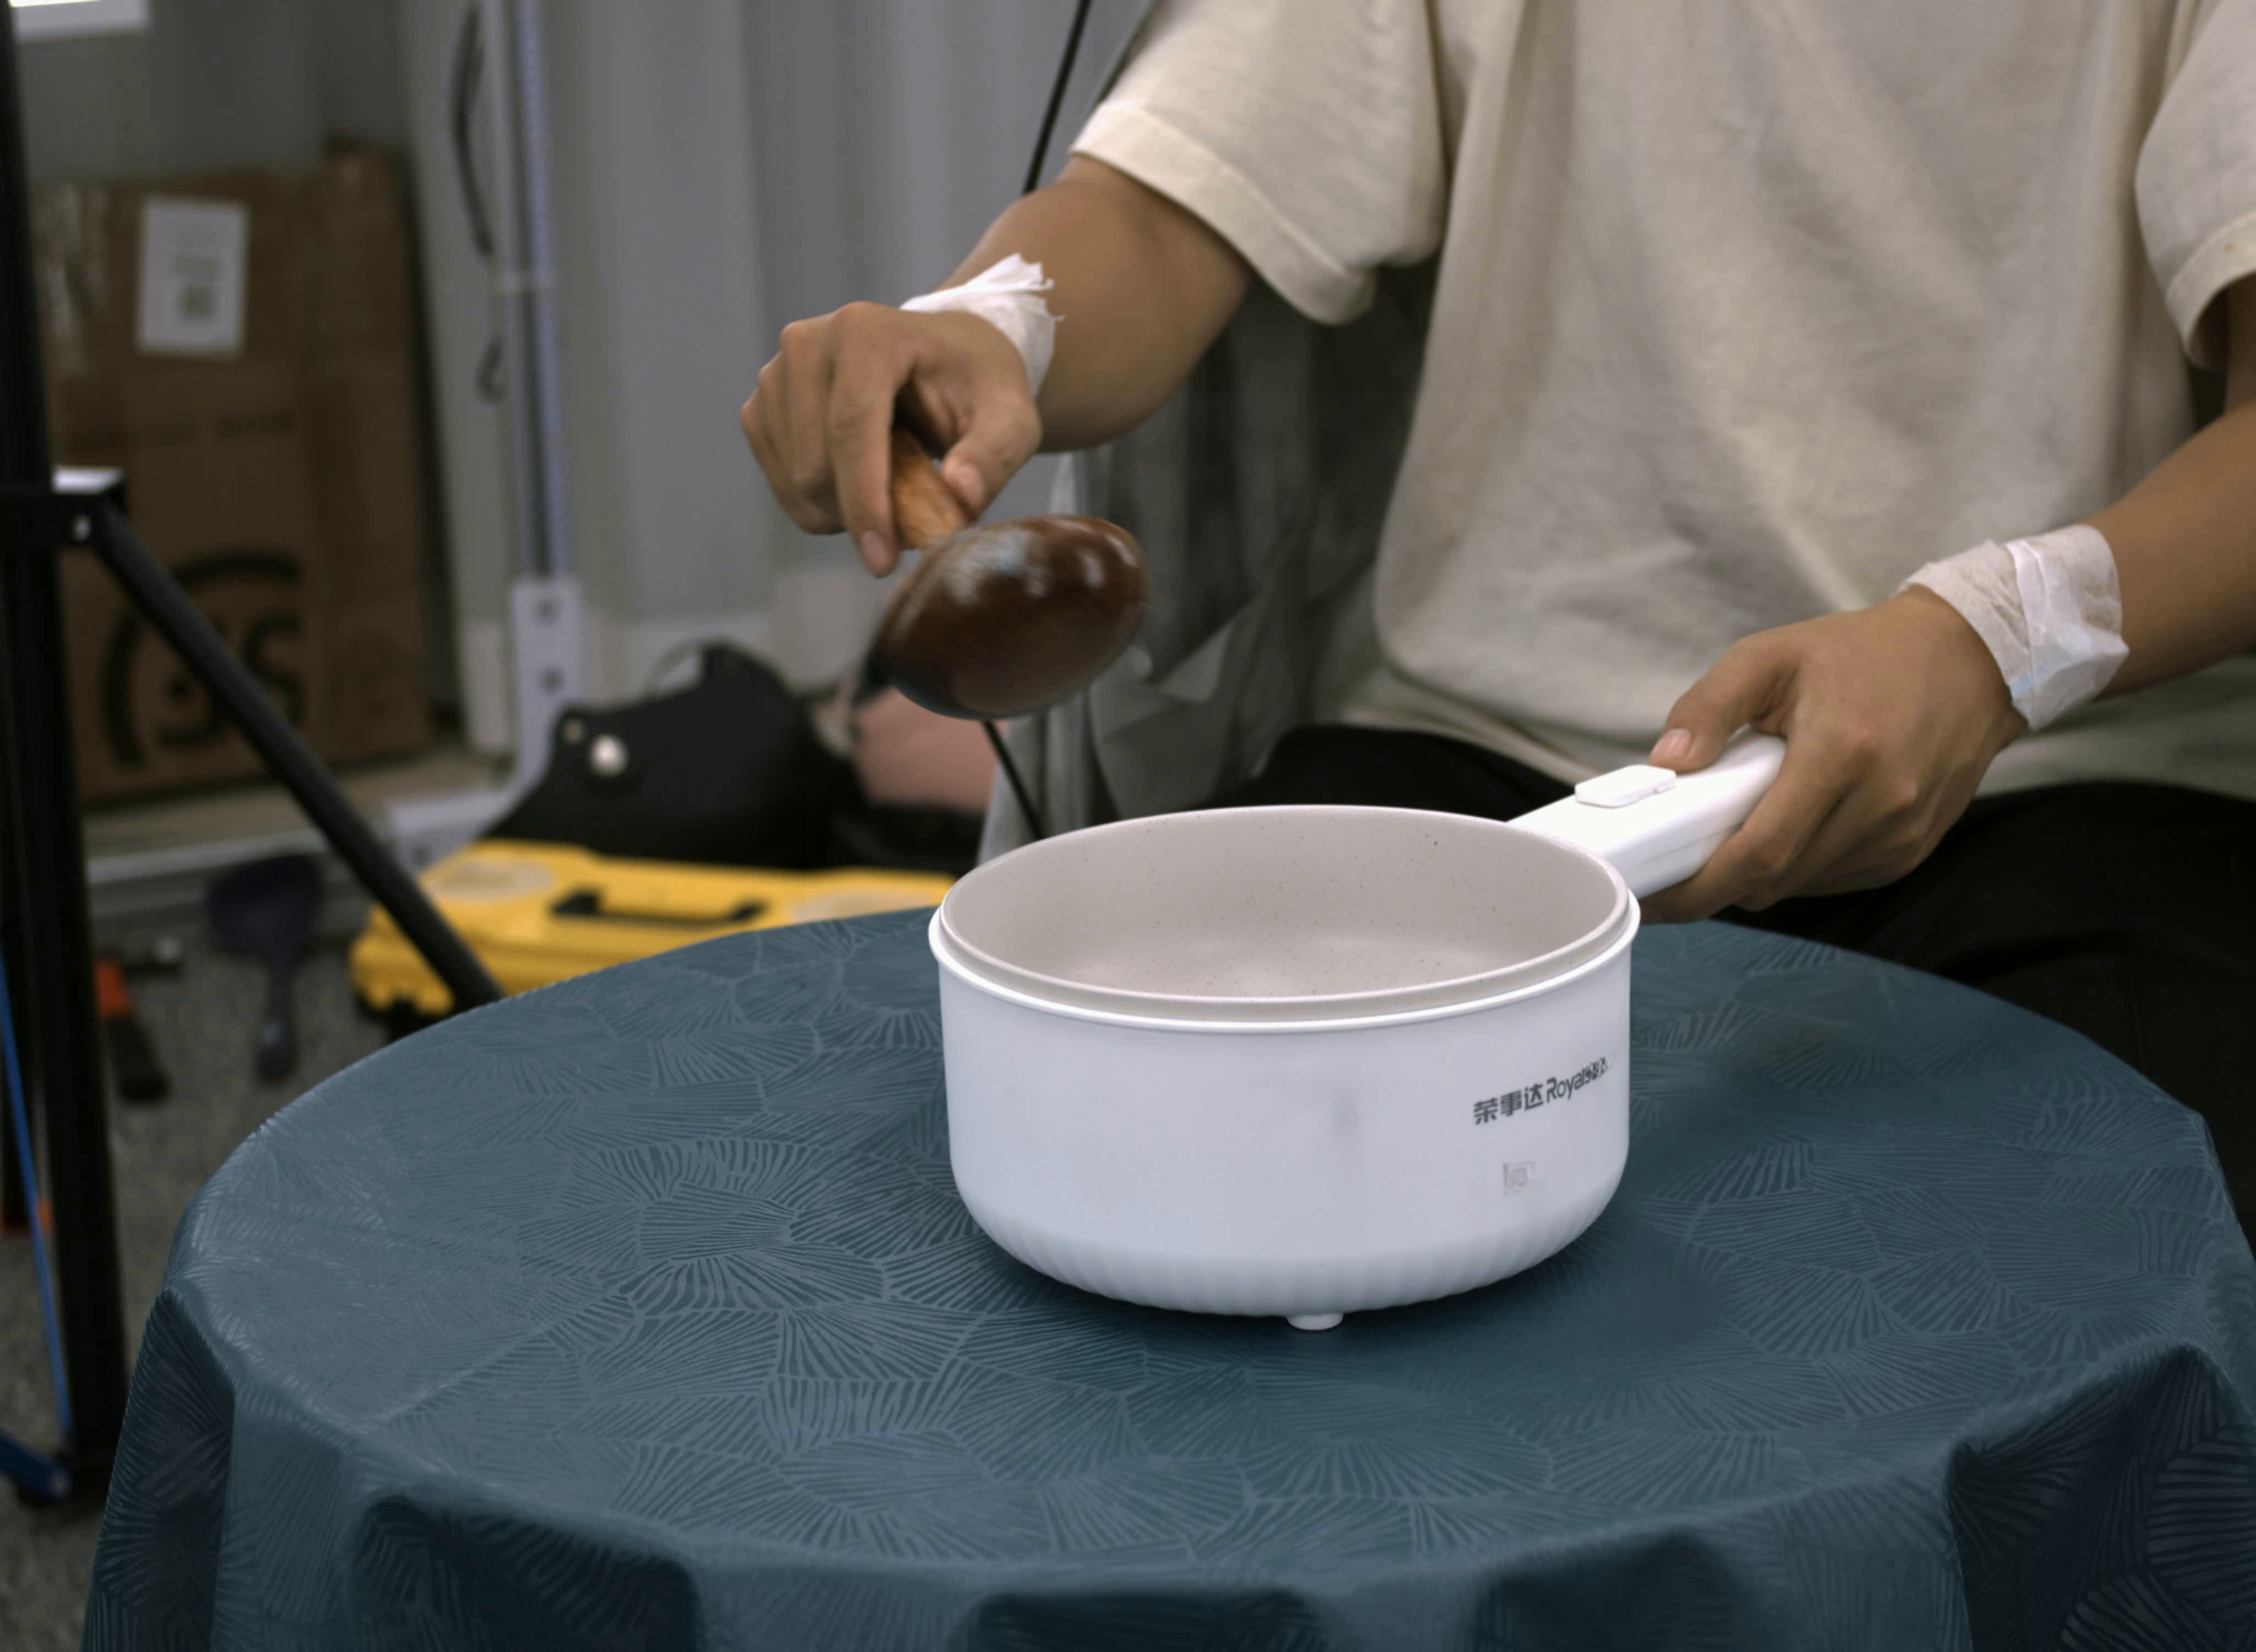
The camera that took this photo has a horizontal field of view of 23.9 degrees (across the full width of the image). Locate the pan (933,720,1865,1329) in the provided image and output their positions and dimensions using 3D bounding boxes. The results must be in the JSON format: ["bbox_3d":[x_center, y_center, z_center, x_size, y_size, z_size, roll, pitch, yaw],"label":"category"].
[{"bbox_3d":[0.098,0.052,1.556,0.206,0.102,0.347,11,20,42],"label":"pan"}]

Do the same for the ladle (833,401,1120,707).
[{"bbox_3d":[-0.061,-0.104,1.585,0.081,0.076,0.278,-10,26,-7],"label":"ladle"}]
